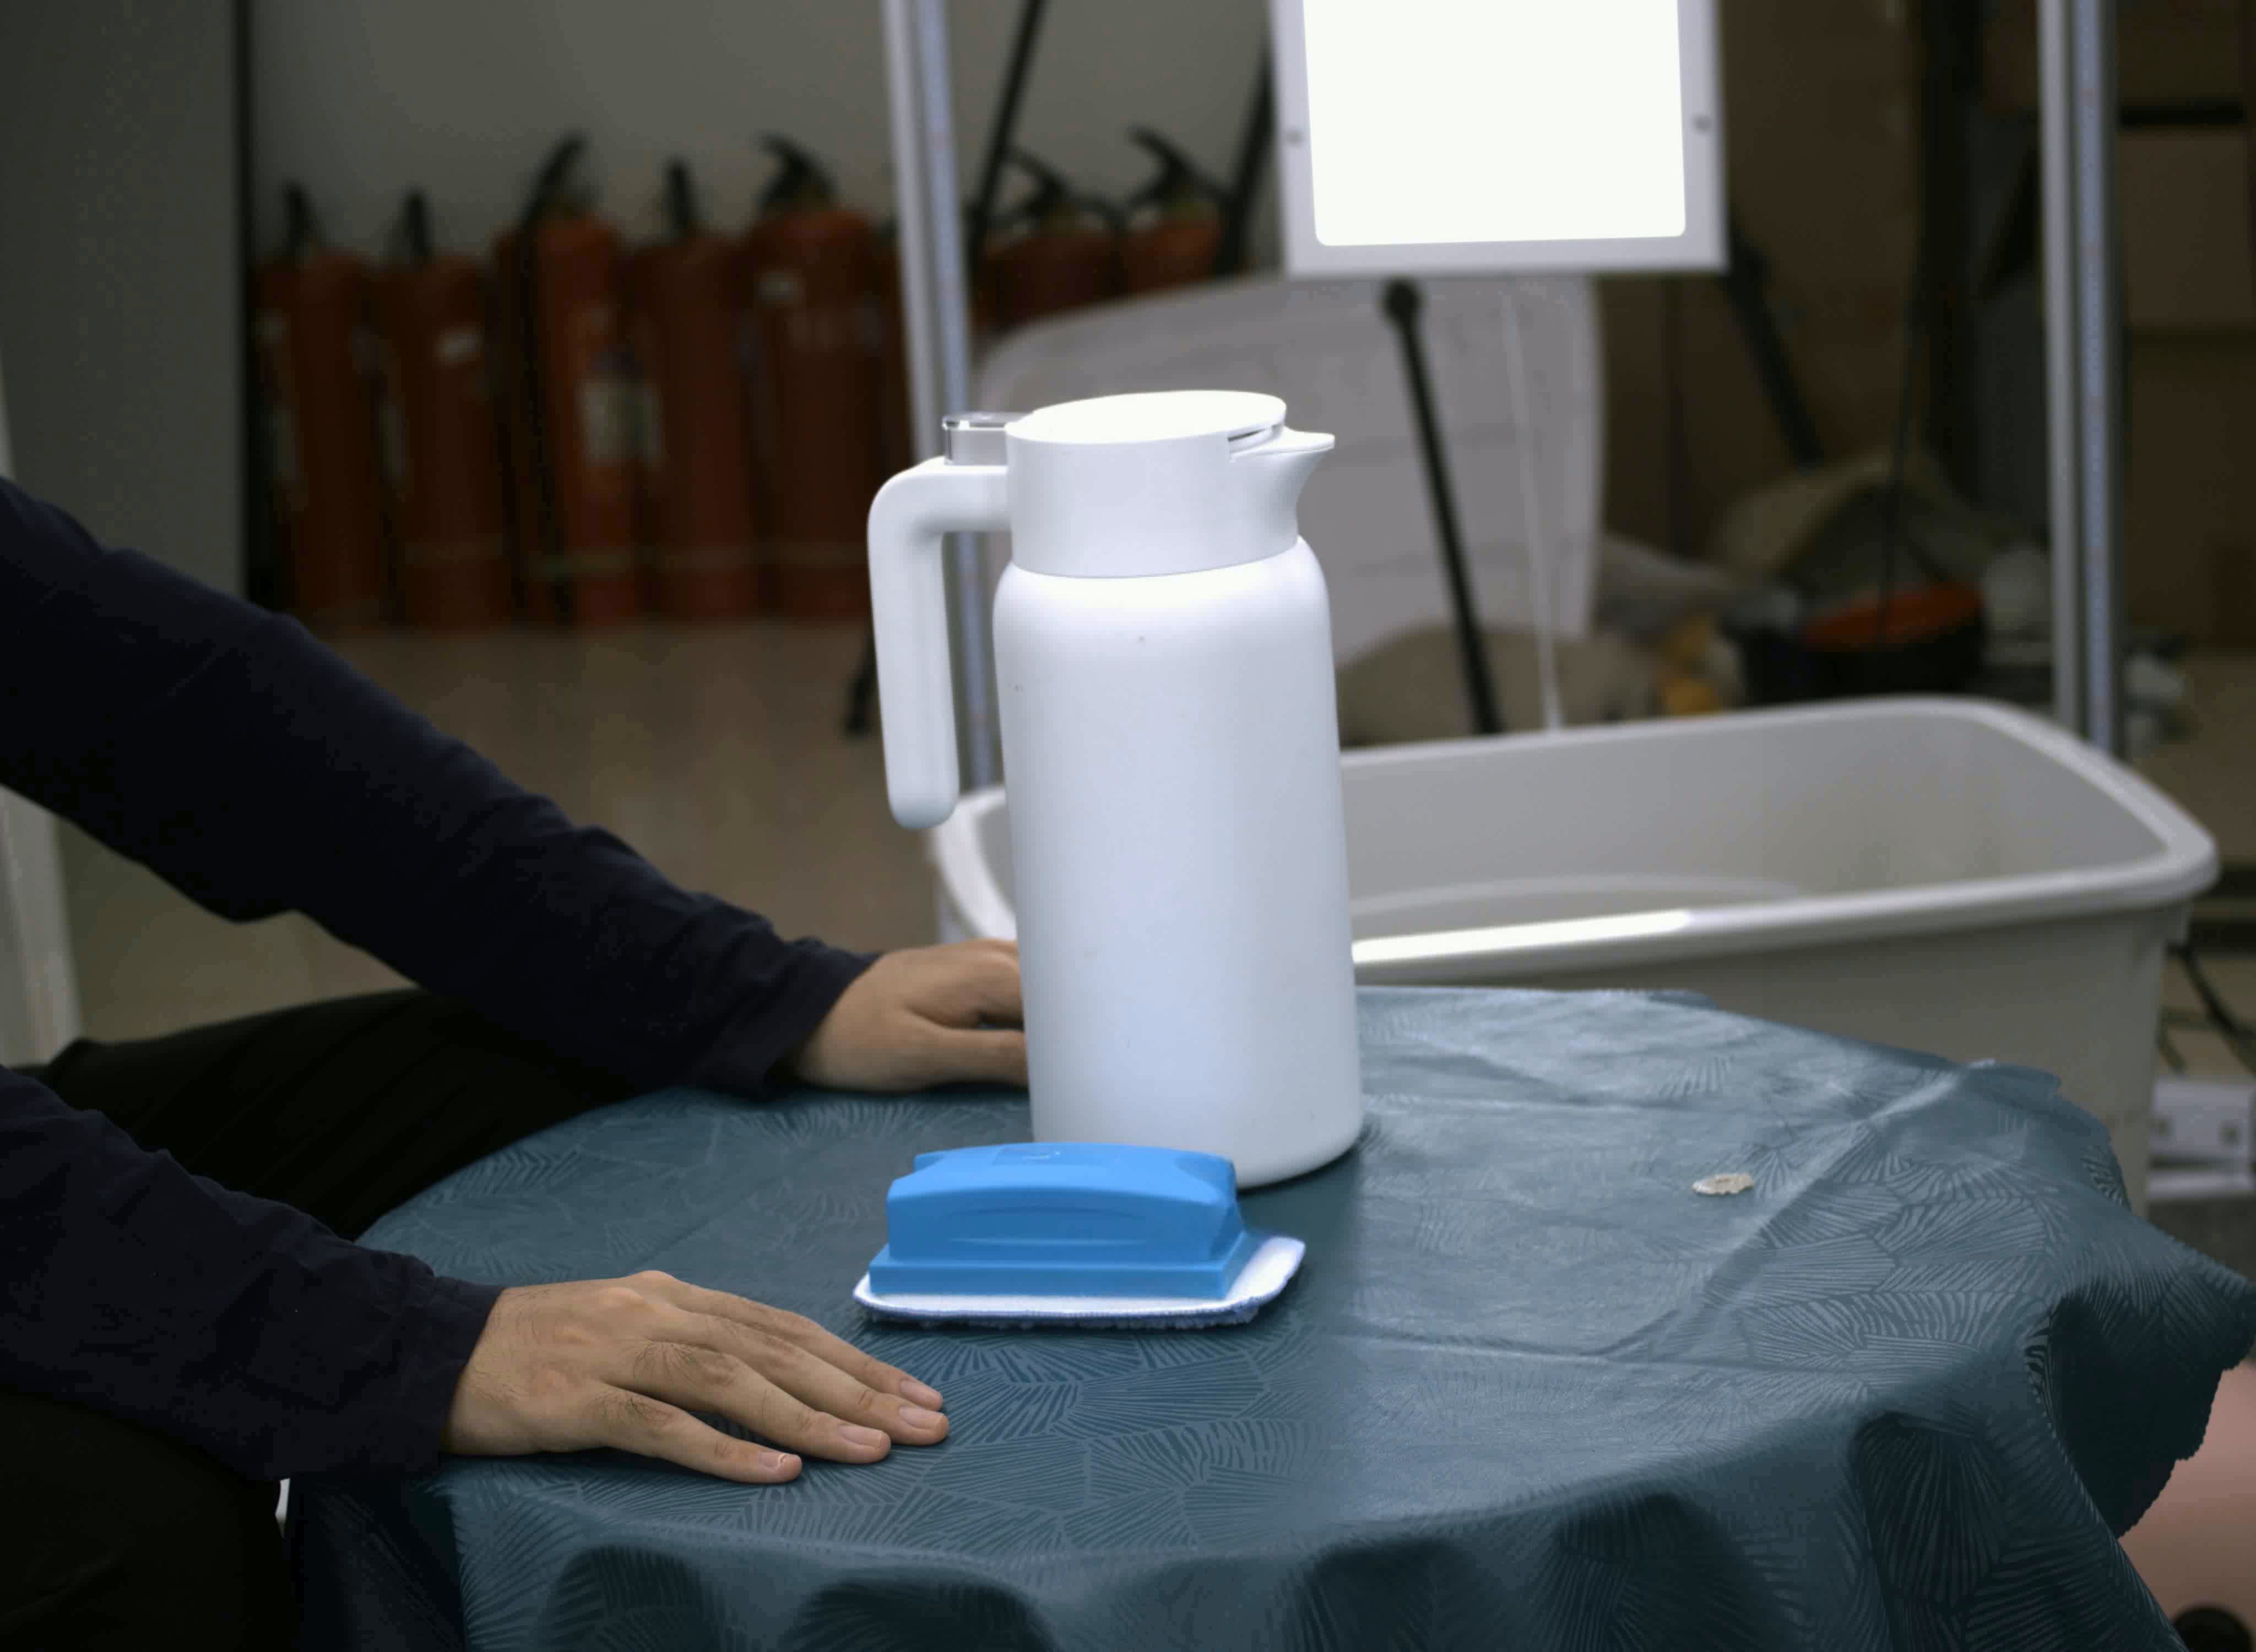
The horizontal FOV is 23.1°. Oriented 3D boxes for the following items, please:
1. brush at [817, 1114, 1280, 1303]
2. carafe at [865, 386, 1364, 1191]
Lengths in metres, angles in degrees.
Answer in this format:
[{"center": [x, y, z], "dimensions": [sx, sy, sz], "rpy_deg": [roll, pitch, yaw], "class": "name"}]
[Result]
[{"center": [-0.025, 0.124, 1.787], "dimensions": [0.145, 0.056, 0.082], "rpy_deg": [3, 12, 19], "class": "brush"}, {"center": [-0.001, -0.013, 1.910], "dimensions": [0.175, 0.270, 0.121], "rpy_deg": [0, 16, 22], "class": "carafe"}]
